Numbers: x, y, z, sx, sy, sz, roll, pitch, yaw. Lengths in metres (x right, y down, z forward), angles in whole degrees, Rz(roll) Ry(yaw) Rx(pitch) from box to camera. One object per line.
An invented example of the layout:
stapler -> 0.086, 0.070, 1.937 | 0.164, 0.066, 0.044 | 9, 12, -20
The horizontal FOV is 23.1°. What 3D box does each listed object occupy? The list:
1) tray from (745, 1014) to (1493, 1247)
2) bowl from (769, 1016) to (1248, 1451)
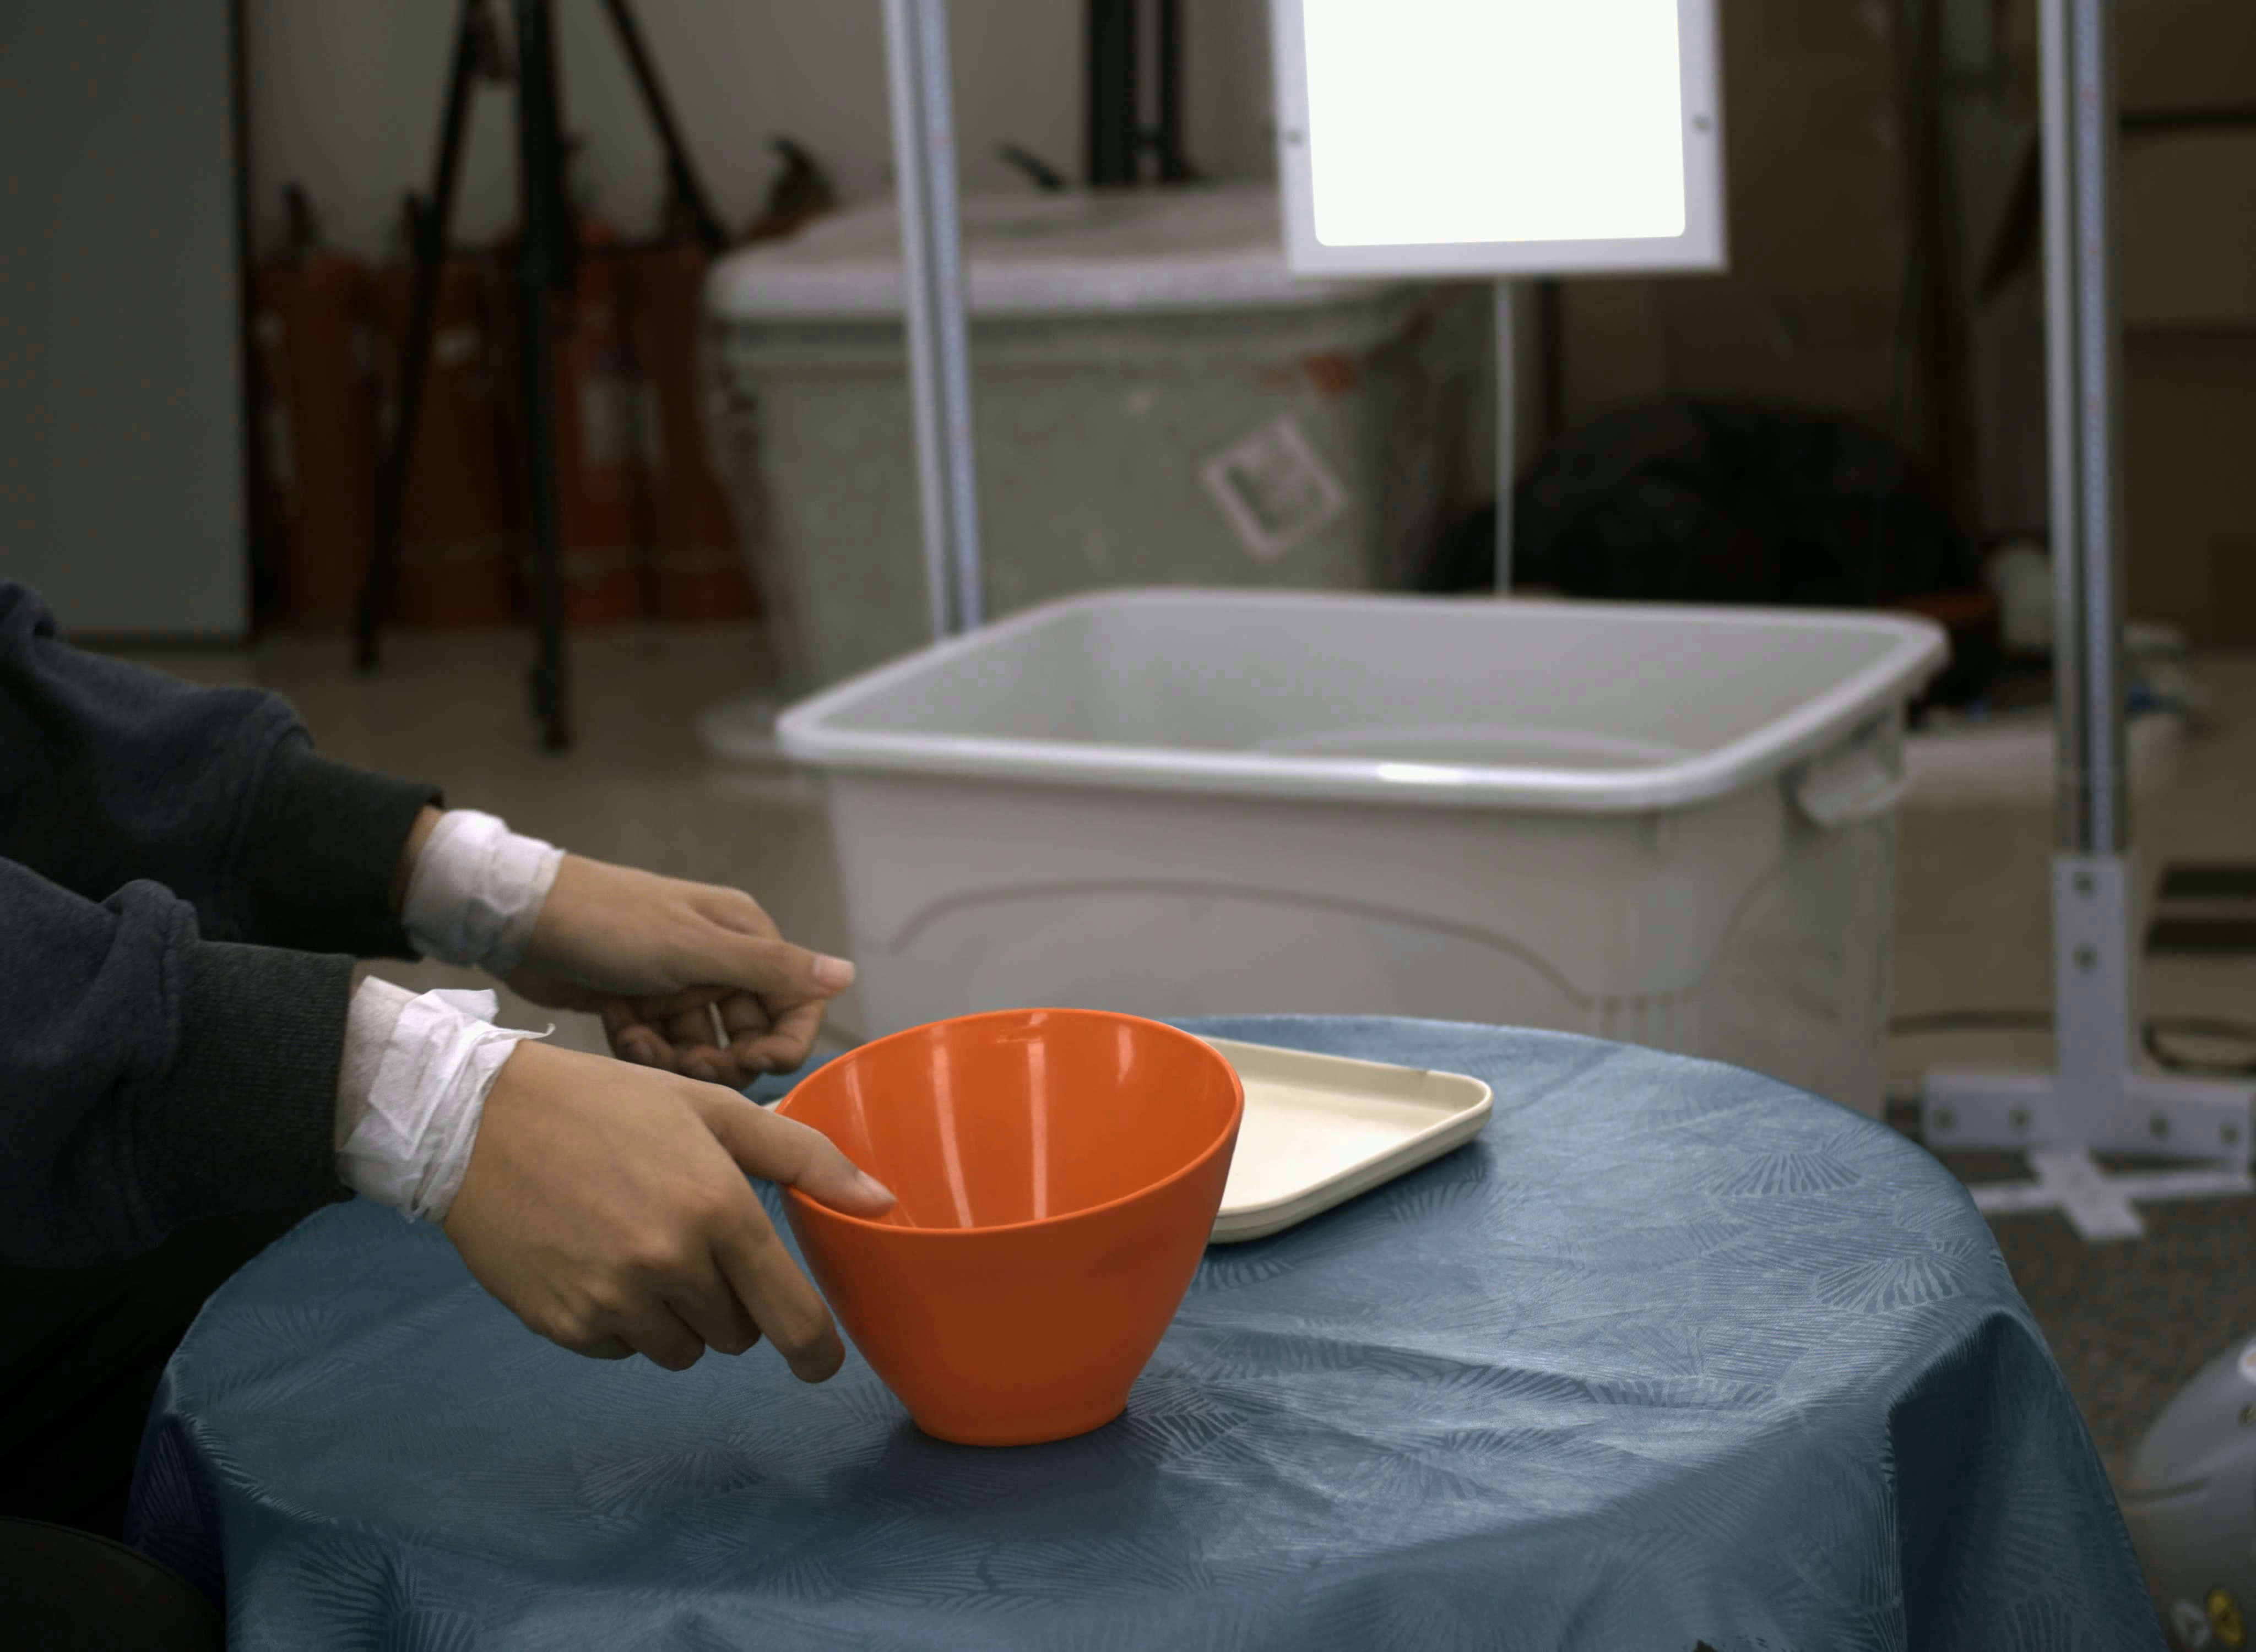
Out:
tray -> -0.003, 0.107, 1.943 | 0.245, 0.017, 0.167 | 7, 19, 40
bowl -> -0.034, 0.128, 1.690 | 0.147, 0.105, 0.148 | -4, 13, -1
